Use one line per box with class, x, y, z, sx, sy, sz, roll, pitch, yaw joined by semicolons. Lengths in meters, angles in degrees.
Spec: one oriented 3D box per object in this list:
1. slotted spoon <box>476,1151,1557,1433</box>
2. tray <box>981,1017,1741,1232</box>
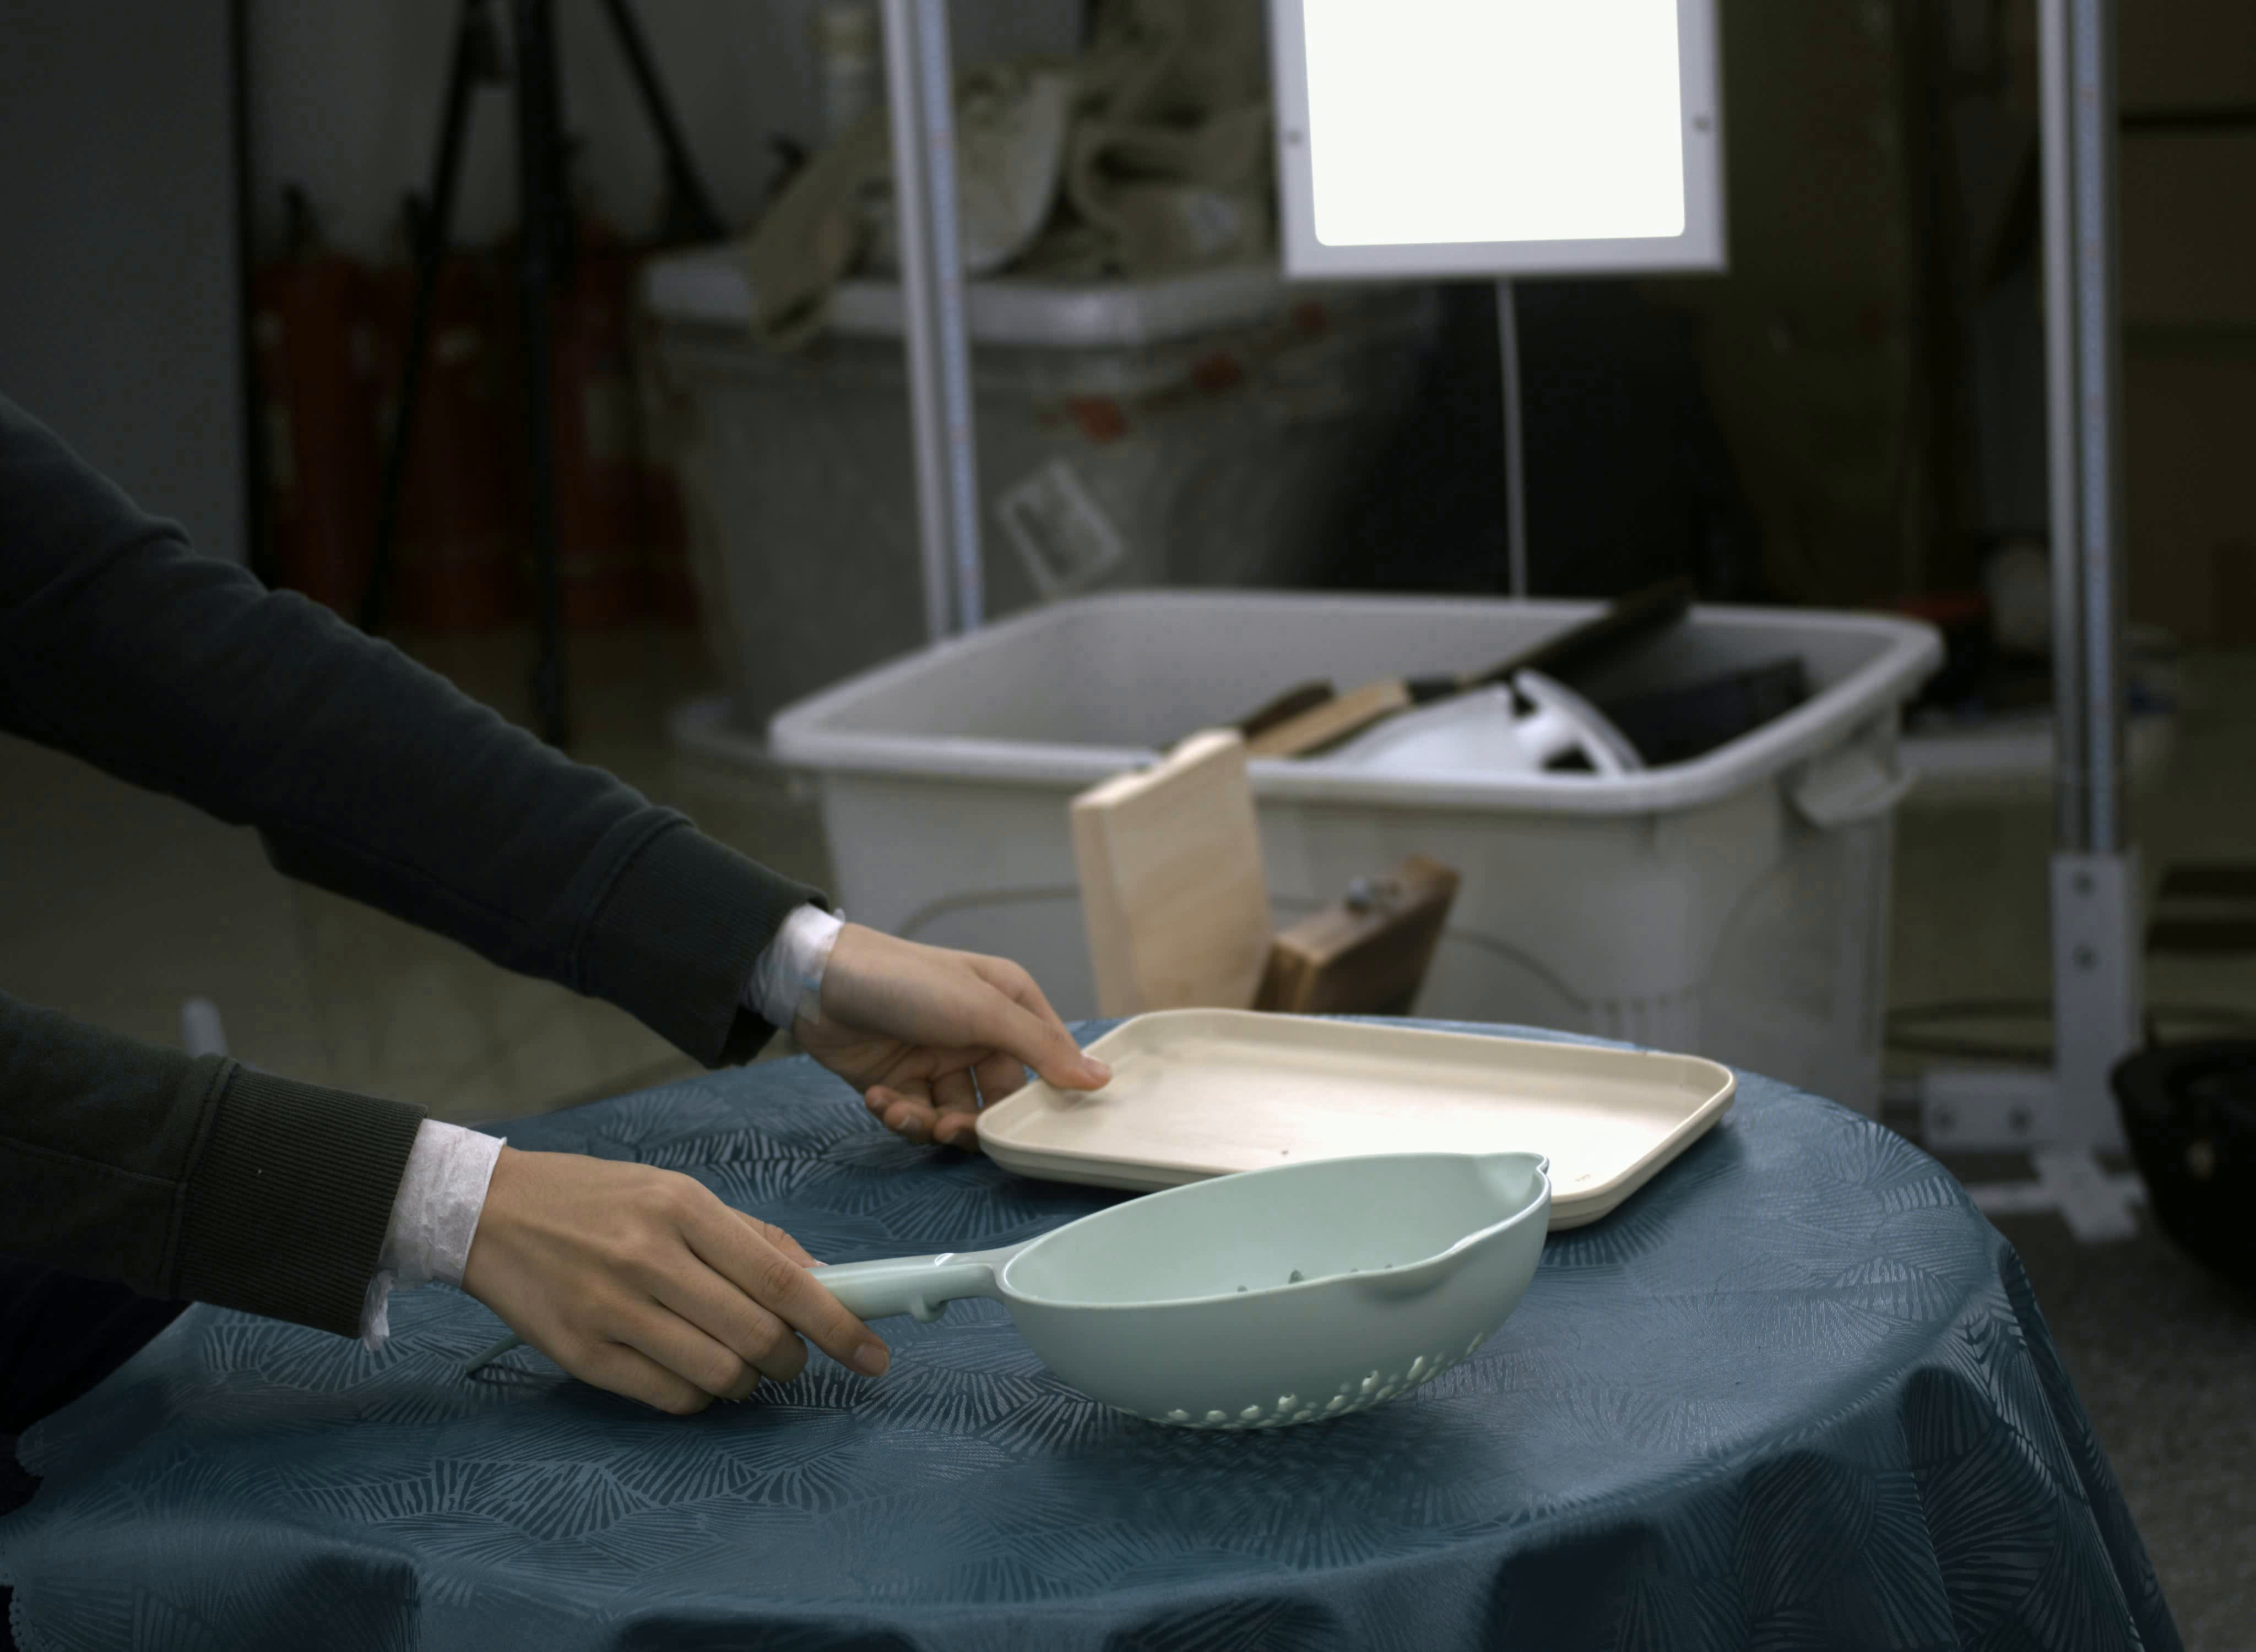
slotted spoon;-0.042;0.144;1.701;0.364;0.075;0.166;1;10;22
tray;0.082;0.103;1.914;0.244;0.017;0.167;4;16;27
